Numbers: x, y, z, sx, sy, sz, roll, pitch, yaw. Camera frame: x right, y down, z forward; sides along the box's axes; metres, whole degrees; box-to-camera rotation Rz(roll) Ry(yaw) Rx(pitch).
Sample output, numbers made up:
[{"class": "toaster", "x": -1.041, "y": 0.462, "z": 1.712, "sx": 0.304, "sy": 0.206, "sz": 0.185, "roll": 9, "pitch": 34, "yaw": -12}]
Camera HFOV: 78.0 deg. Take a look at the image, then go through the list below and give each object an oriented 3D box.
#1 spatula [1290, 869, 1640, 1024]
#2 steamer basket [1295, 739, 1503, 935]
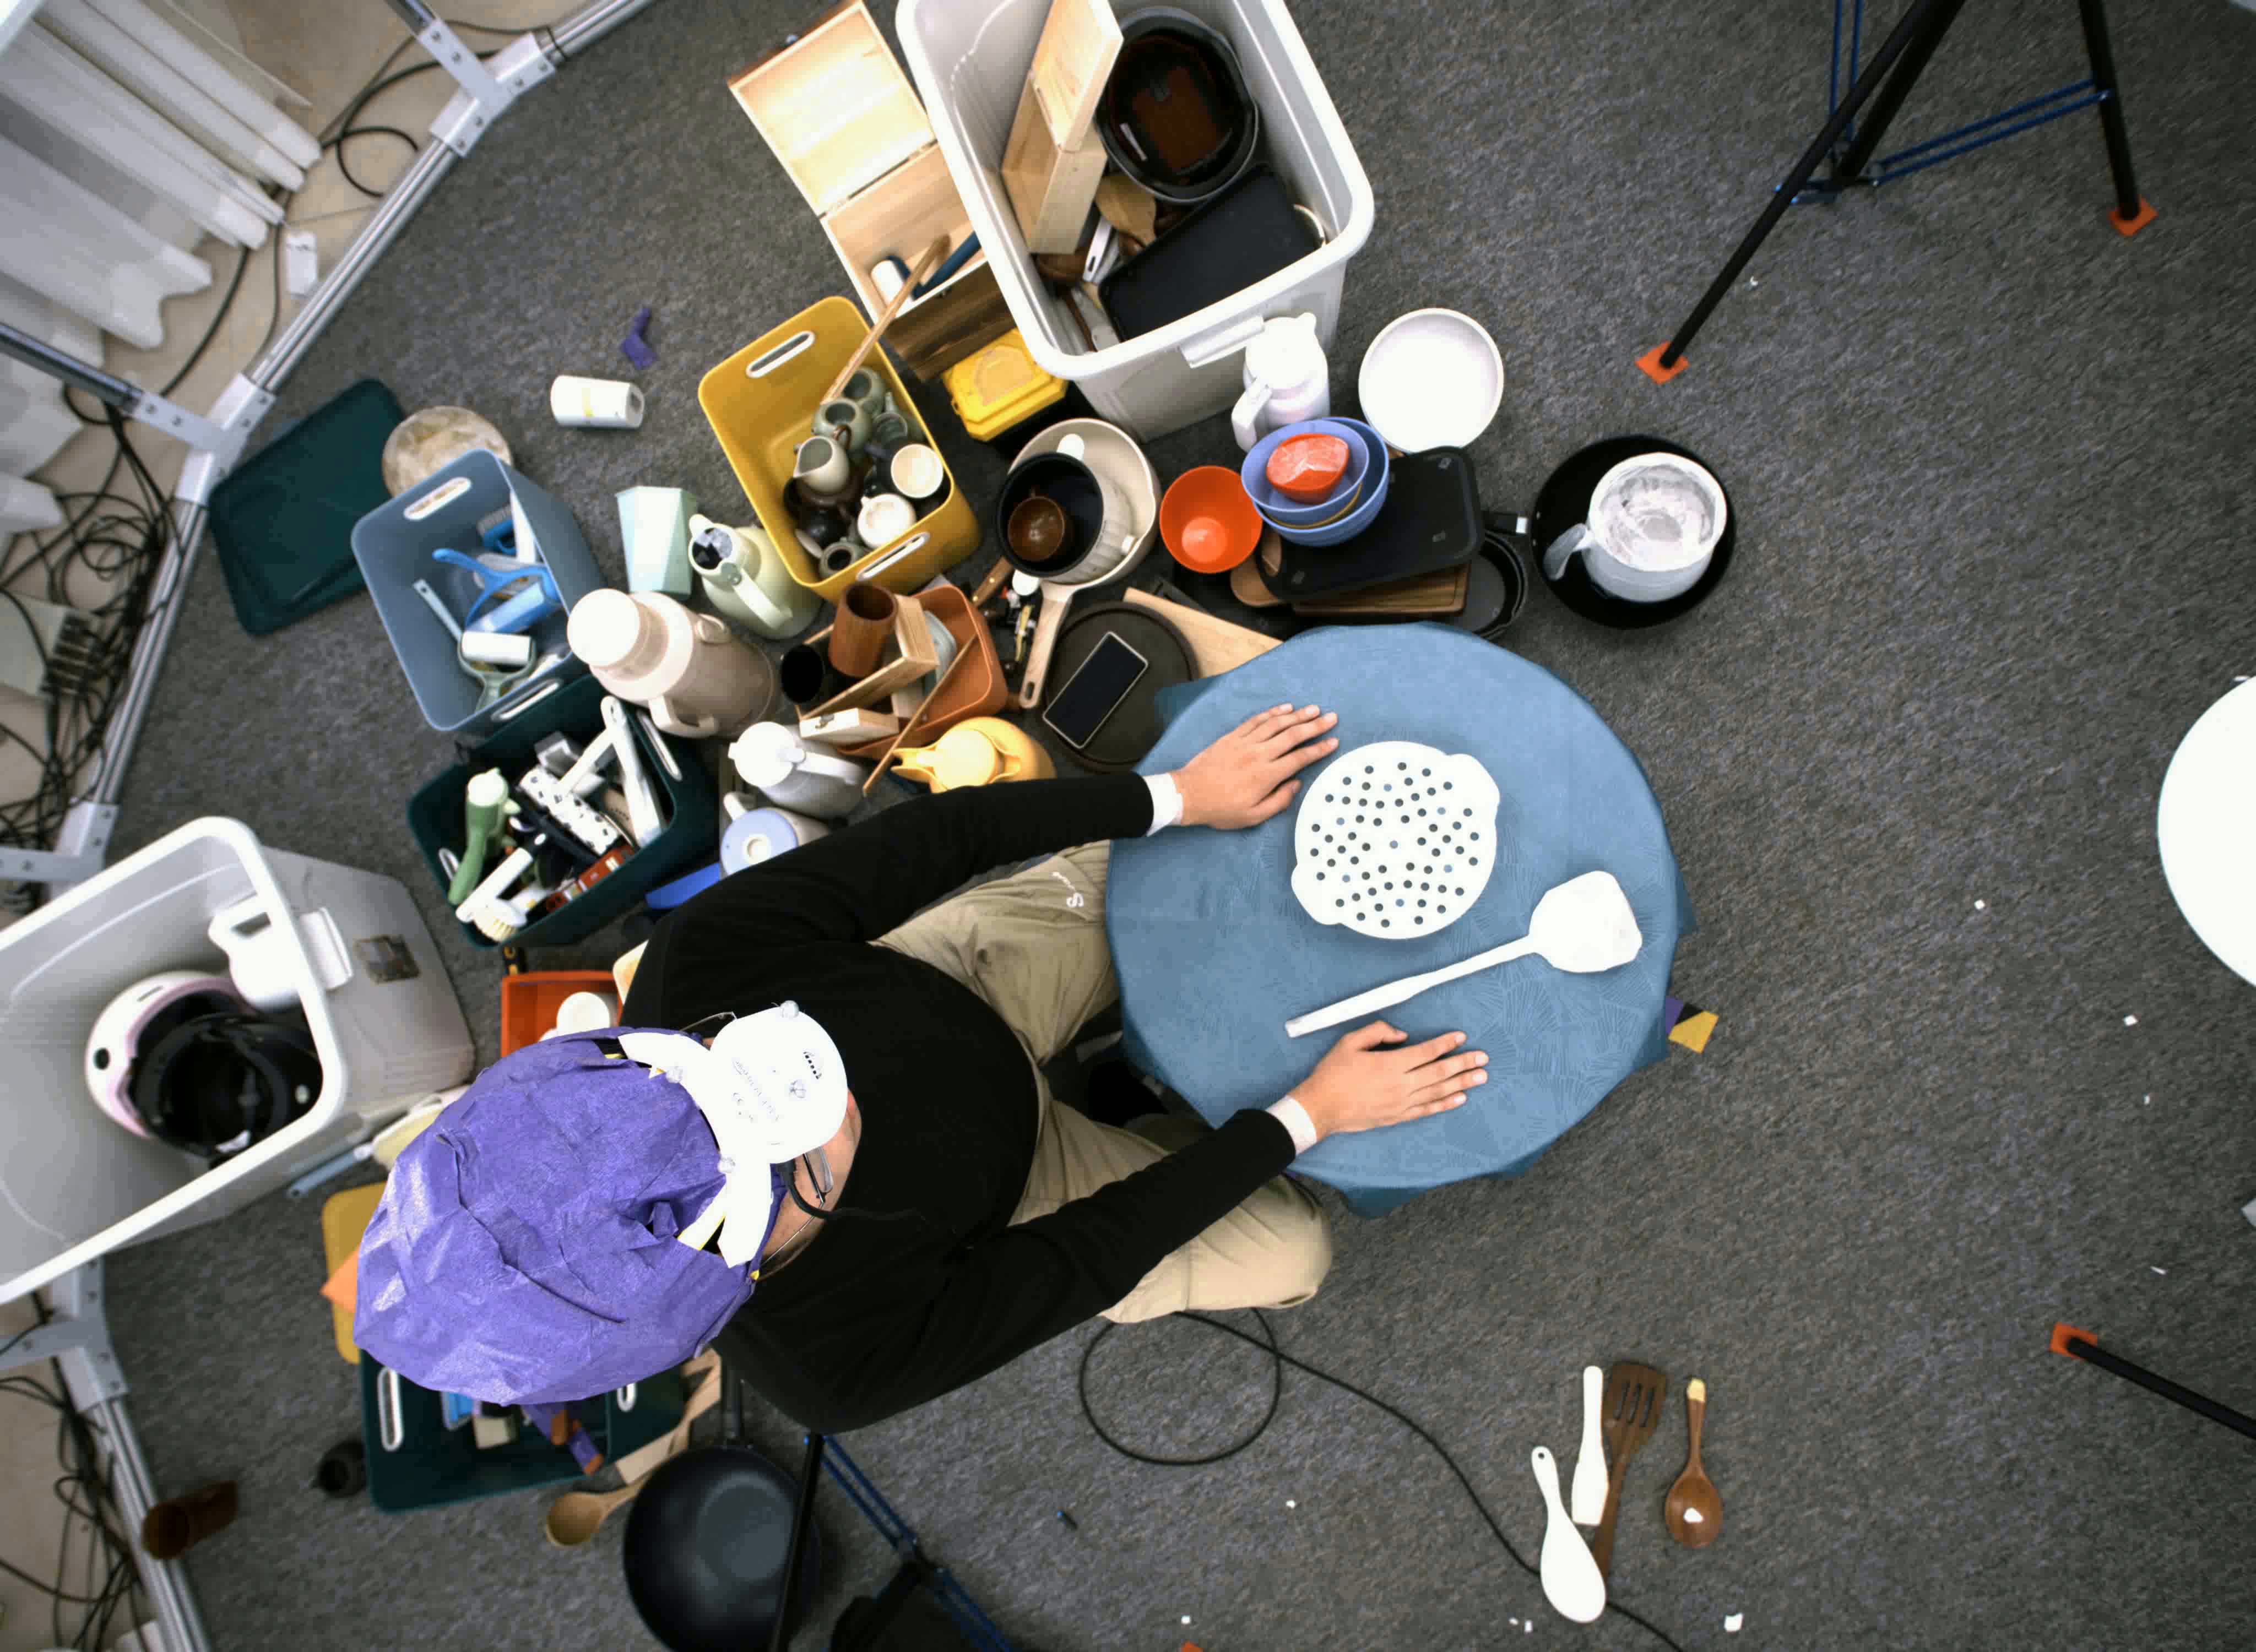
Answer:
[{"class": "spatula", "x": 0.341, "y": 0.143, "z": 1.424, "sx": 0.367, "sy": 0.045, "sz": 0.098, "roll": -20, "pitch": 85, "yaw": 9}, {"class": "steamer basket", "x": 0.280, "y": 0.012, "z": 1.426, "sx": 0.232, "sy": 0.069, "sz": 0.200, "roll": -35, "pitch": 80, "yaw": 7}]
